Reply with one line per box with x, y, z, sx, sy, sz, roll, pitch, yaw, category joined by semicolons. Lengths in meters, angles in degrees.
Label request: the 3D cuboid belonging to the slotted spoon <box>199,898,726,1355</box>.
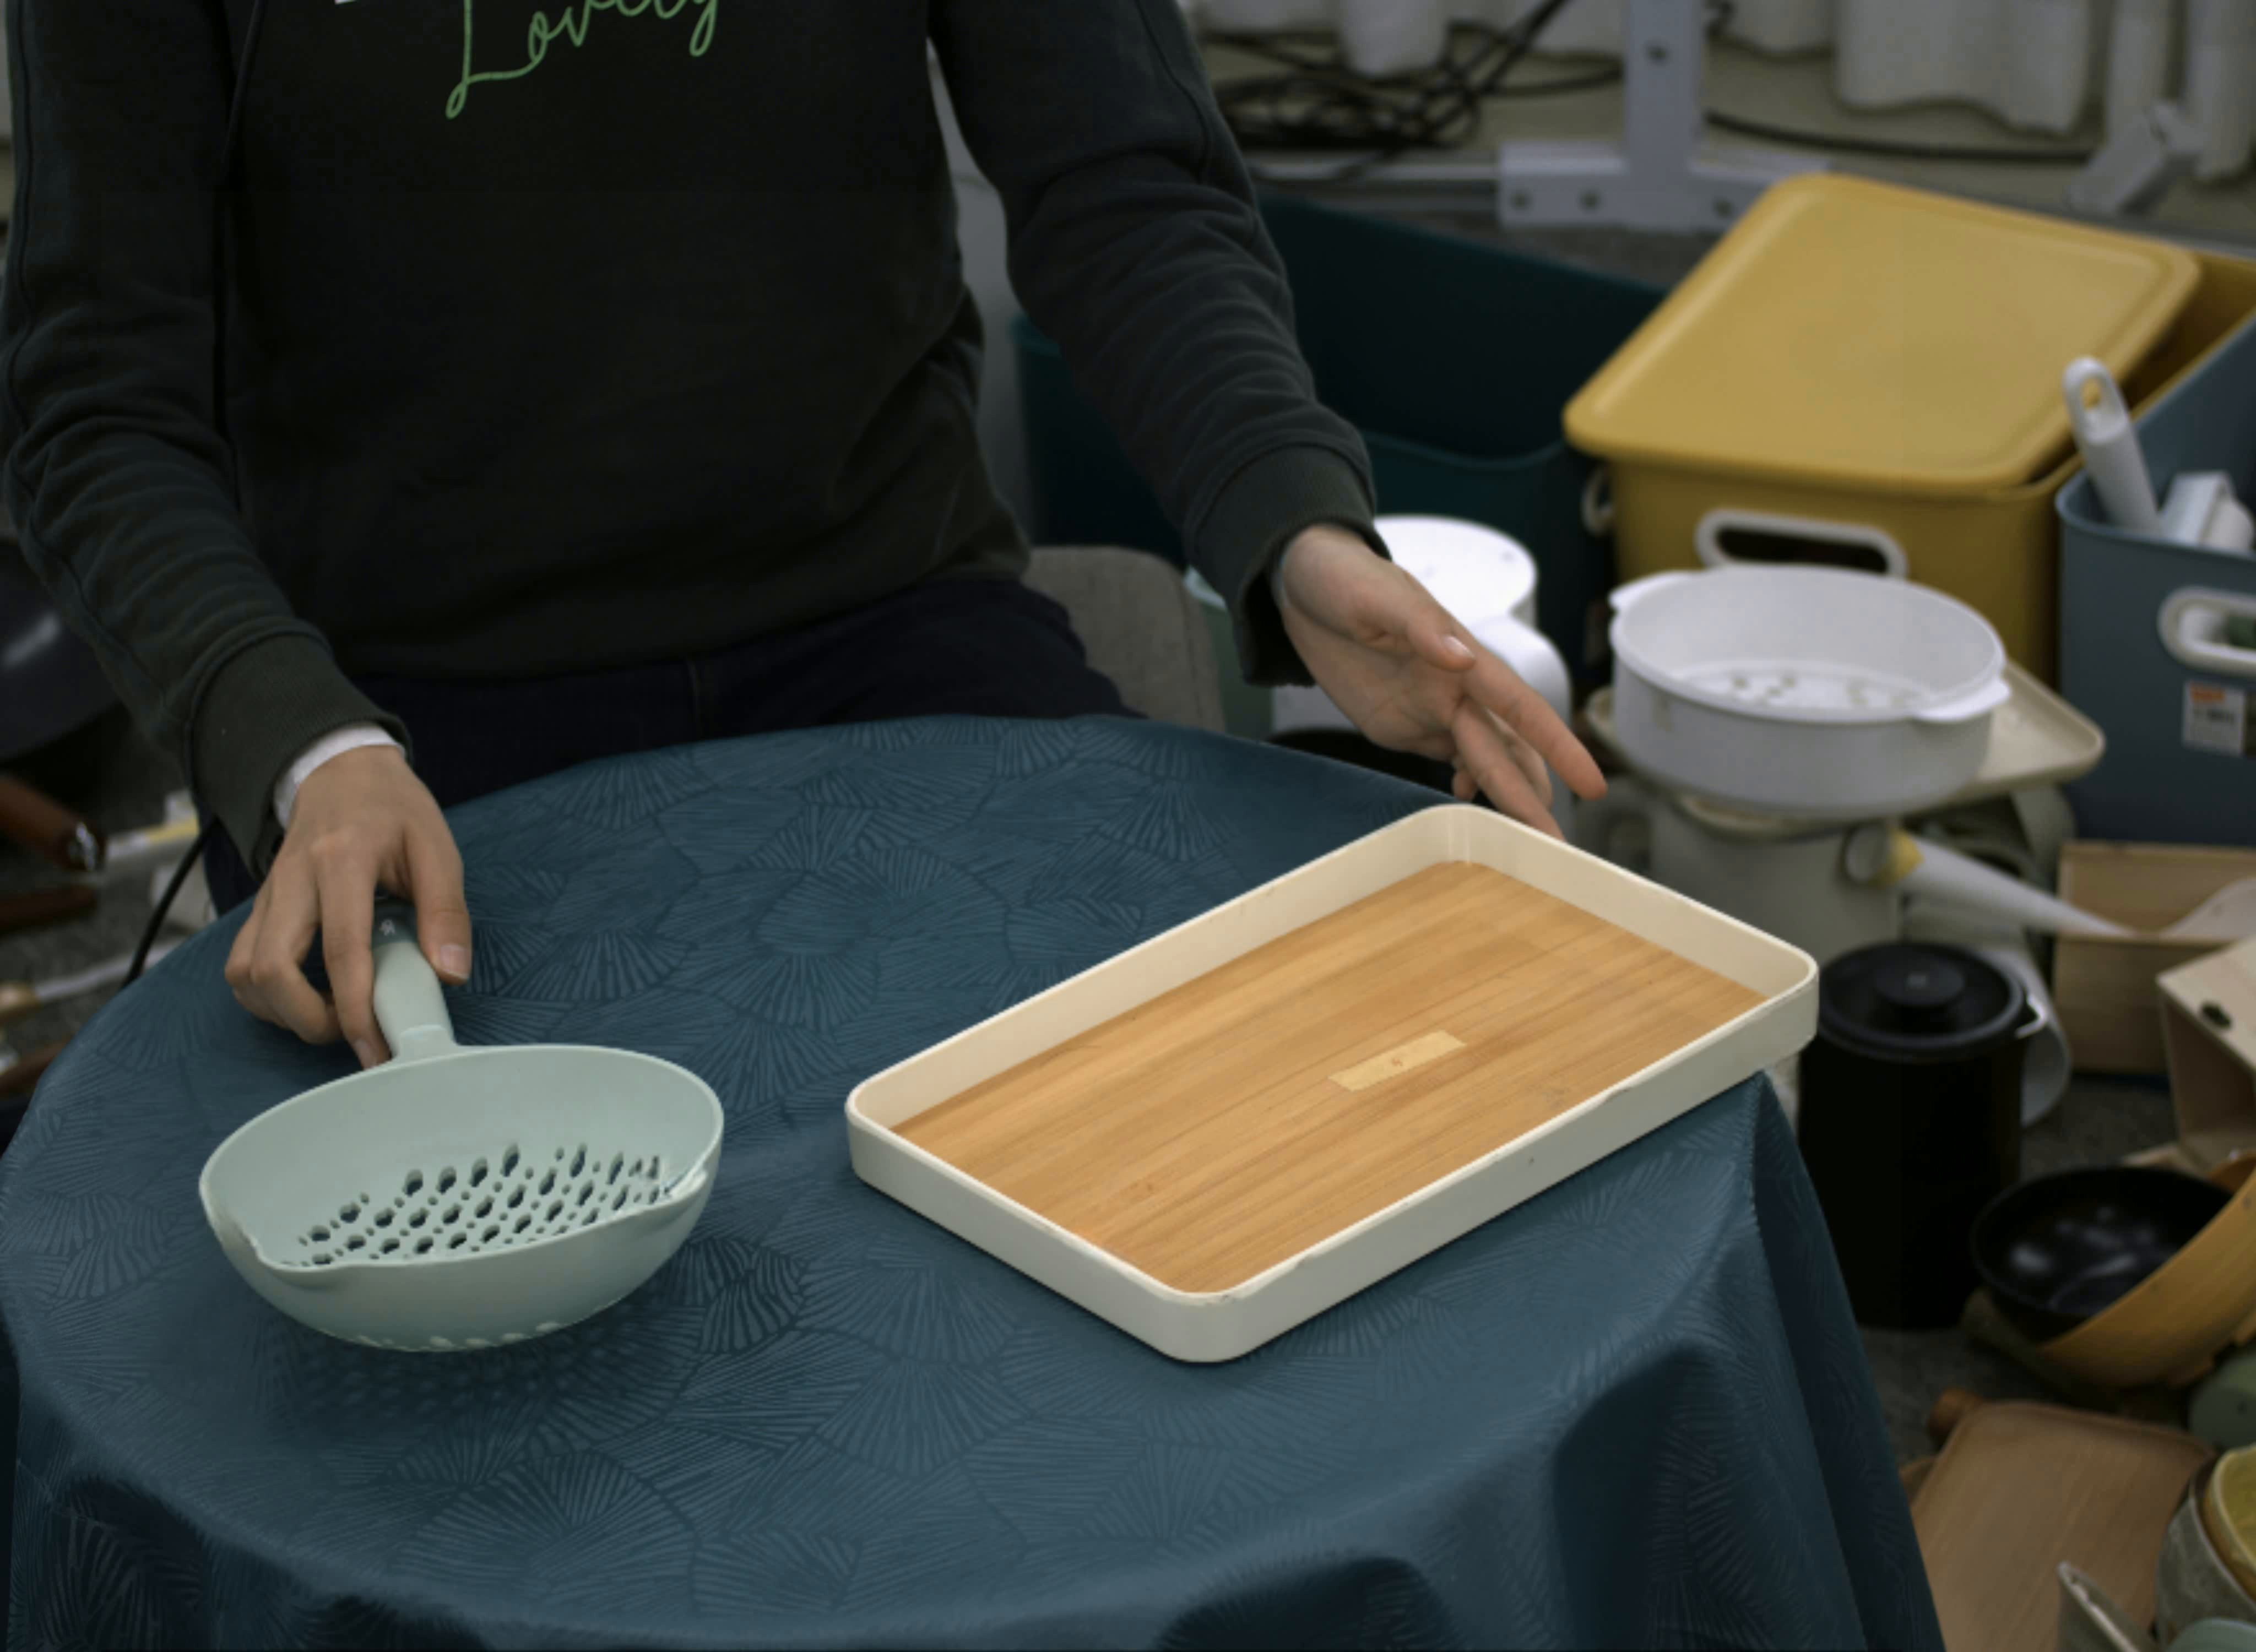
-0.233;0.085;1.886;0.169;0.074;0.363;-9;28;-11;slotted spoon

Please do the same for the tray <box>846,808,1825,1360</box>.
0.072;0.082;1.903;0.303;0.027;0.191;-24;34;-35;tray
